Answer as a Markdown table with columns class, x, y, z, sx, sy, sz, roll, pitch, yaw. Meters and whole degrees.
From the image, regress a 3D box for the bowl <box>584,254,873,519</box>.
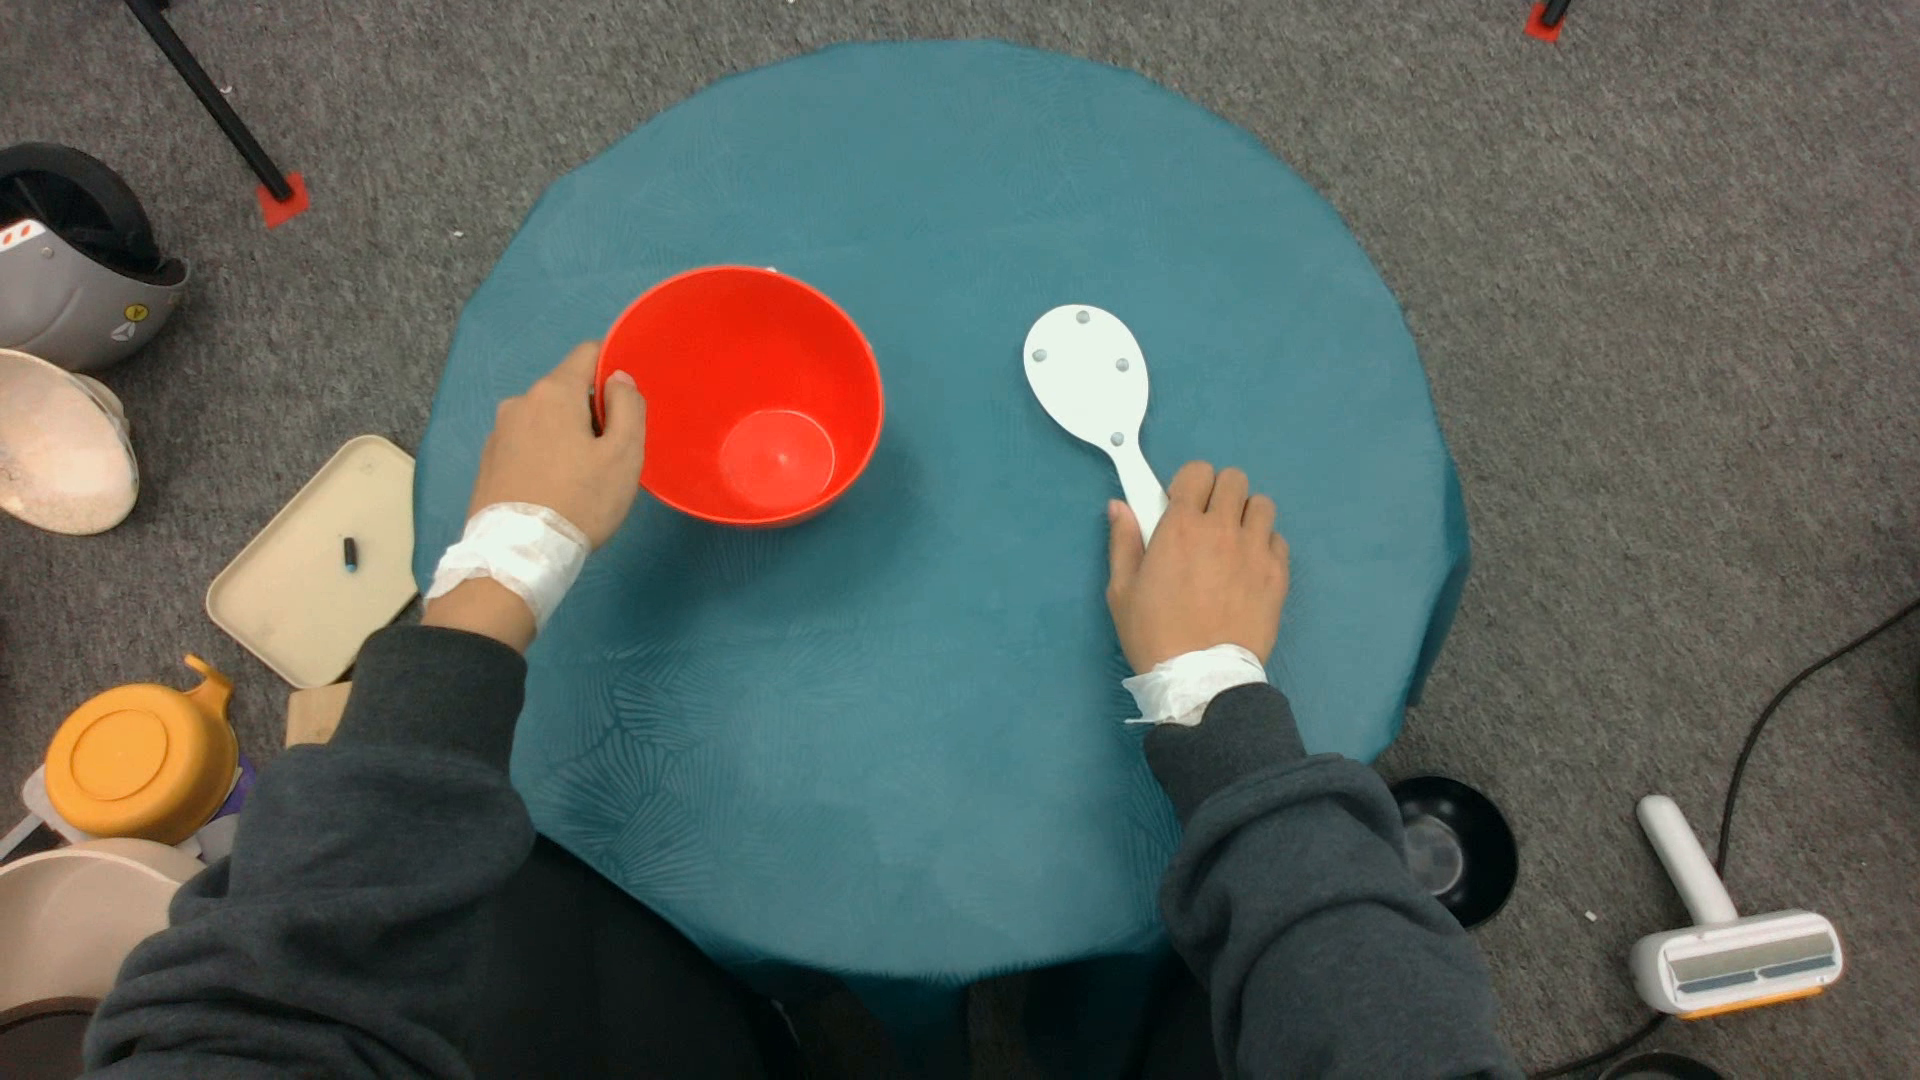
| class | x | y | z | sx | sy | sz | roll | pitch | yaw |
| --- | --- | --- | --- | --- | --- | --- | --- | --- | --- |
| bowl | -0.121 | -0.070 | 0.755 | 0.148 | 0.104 | 0.148 | 1 | 70 | -3 |

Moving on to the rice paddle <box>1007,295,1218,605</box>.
| class | x | y | z | sx | sy | sz | roll | pitch | yaw |
| --- | --- | --- | --- | --- | --- | --- | --- | --- | --- |
| rice paddle | 0.087 | -0.059 | 0.790 | 0.069 | 0.029 | 0.205 | -23 | 70 | -6 |
